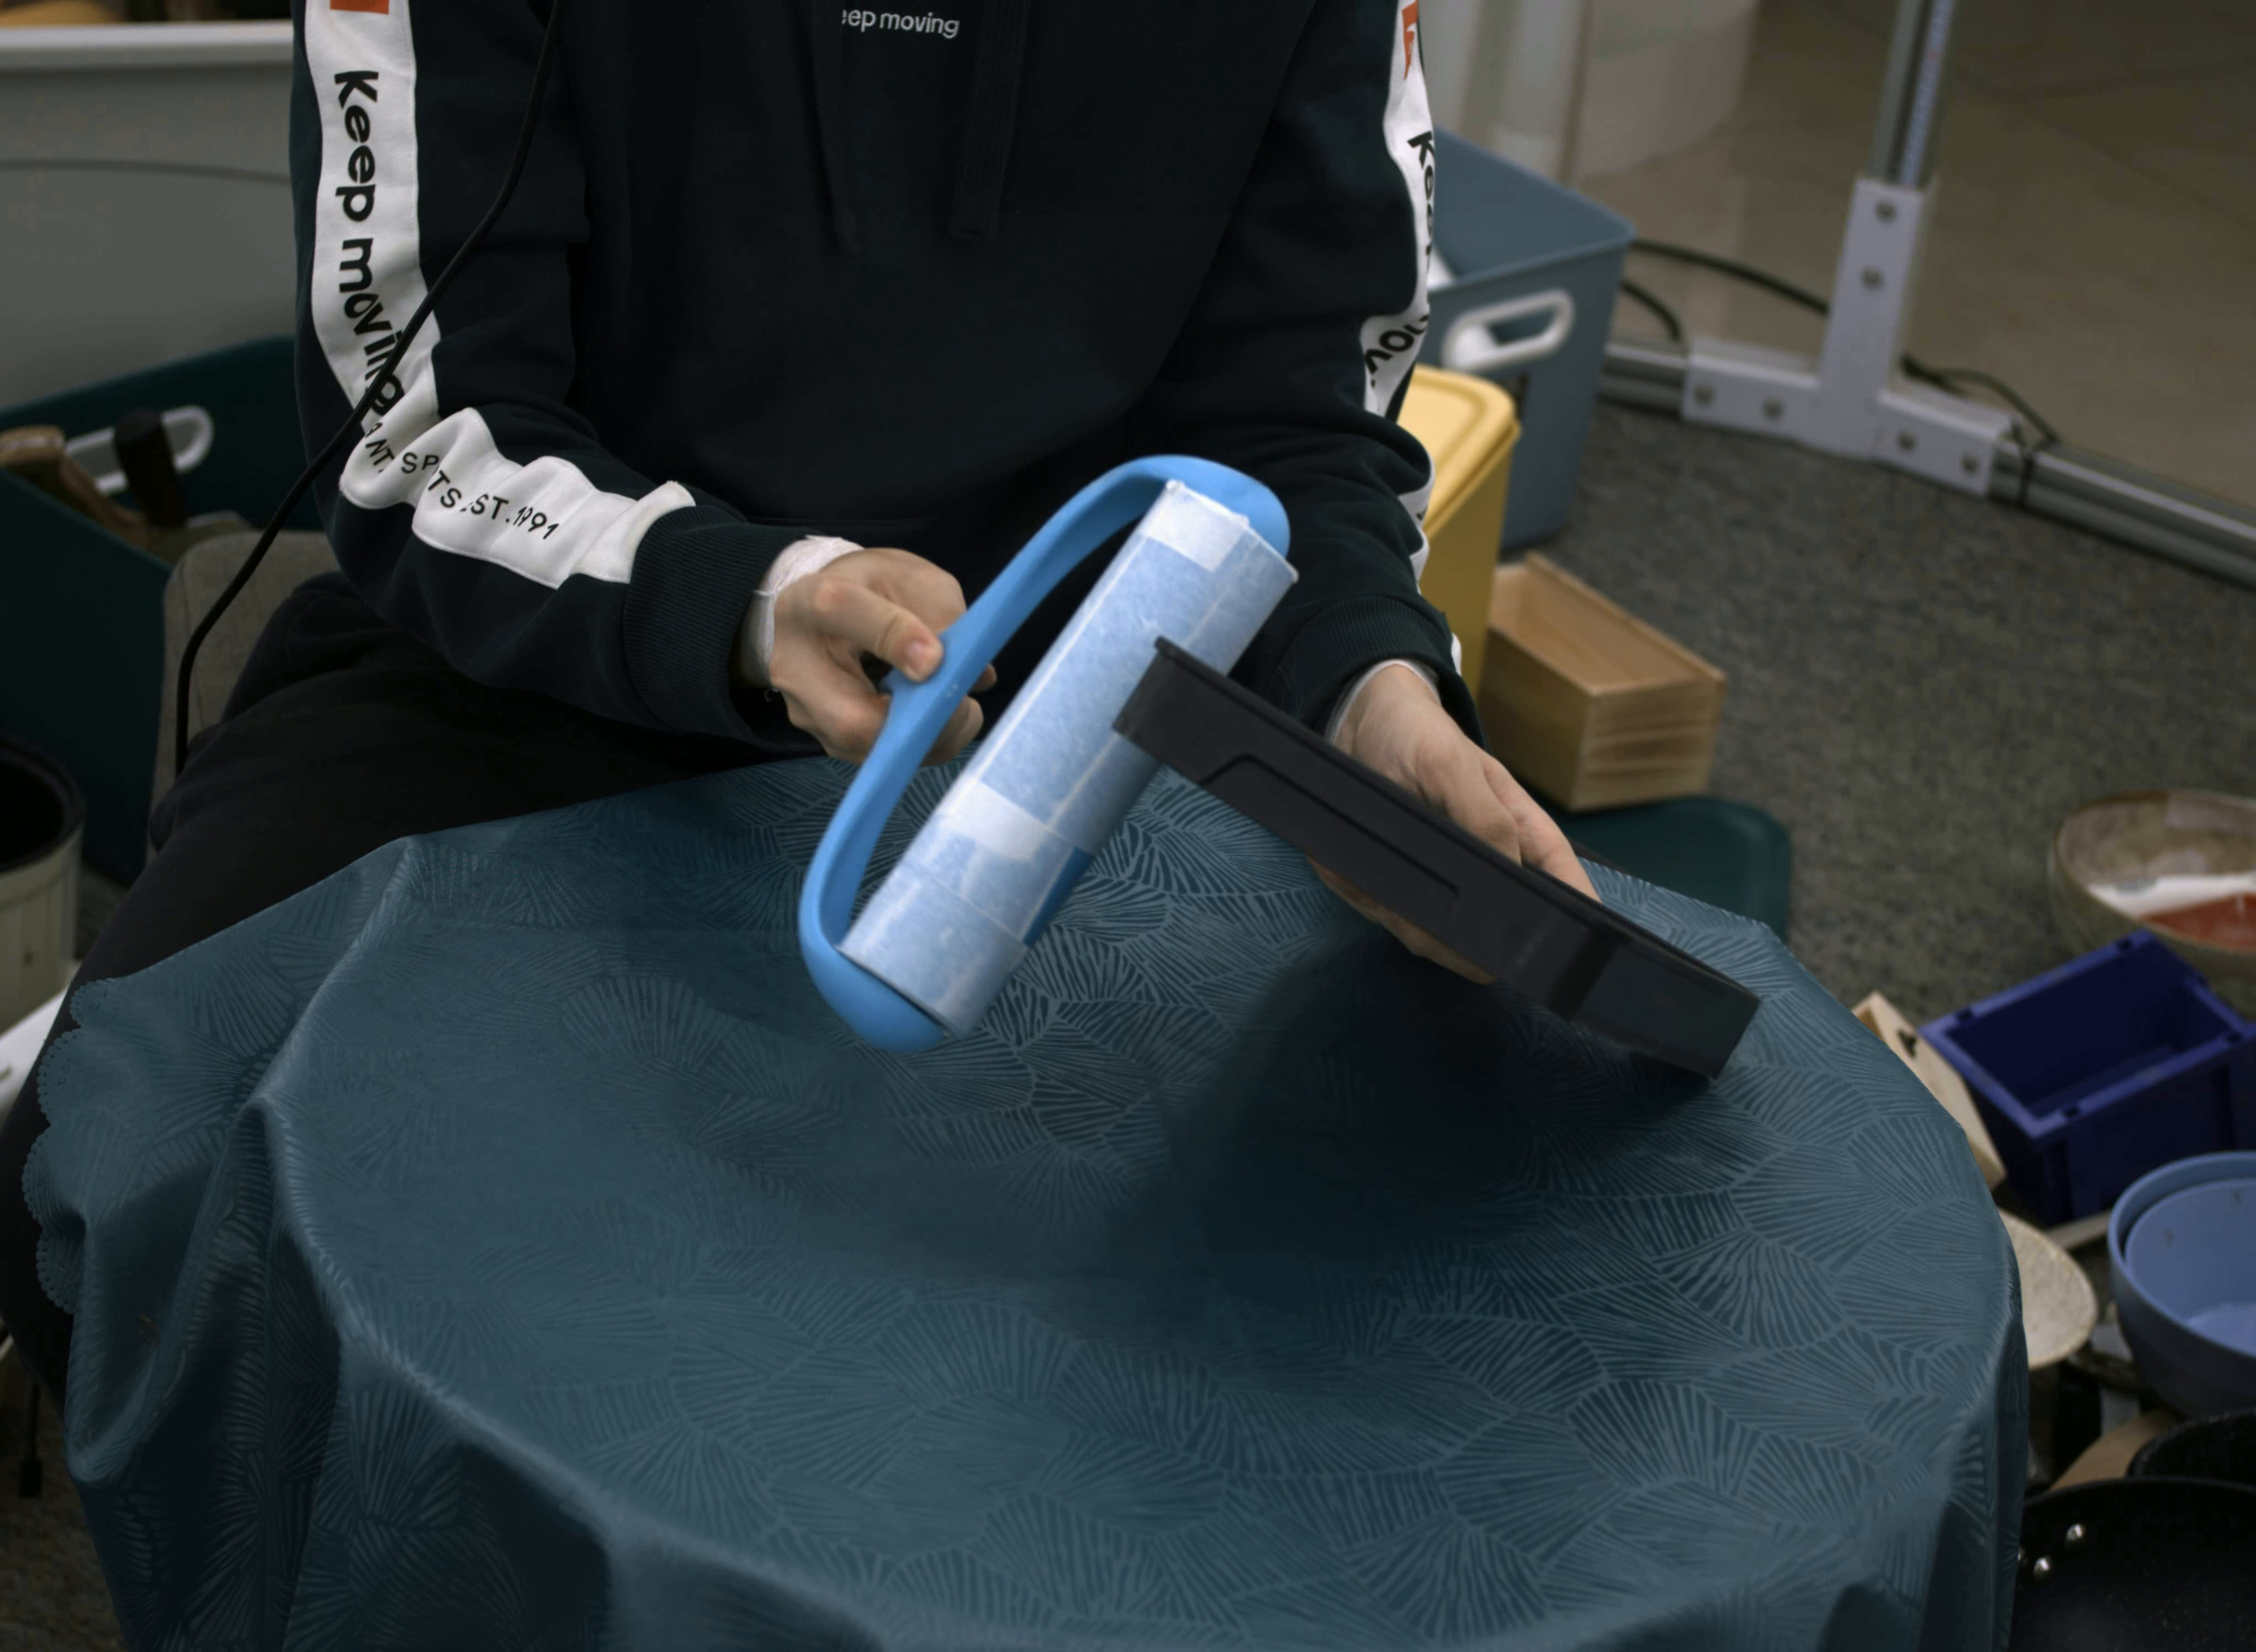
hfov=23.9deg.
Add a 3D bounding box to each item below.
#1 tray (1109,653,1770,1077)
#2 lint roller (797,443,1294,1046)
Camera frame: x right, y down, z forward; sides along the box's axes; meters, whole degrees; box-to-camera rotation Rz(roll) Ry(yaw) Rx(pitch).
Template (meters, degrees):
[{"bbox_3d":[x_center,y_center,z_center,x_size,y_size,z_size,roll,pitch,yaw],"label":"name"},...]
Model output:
[{"bbox_3d":[0.111,0.018,1.798,0.185,0.037,0.316,31,3,16],"label":"tray"},{"bbox_3d":[-0.051,-0.036,1.812,0.067,0.229,0.181,38,-10,-30],"label":"lint roller"}]
